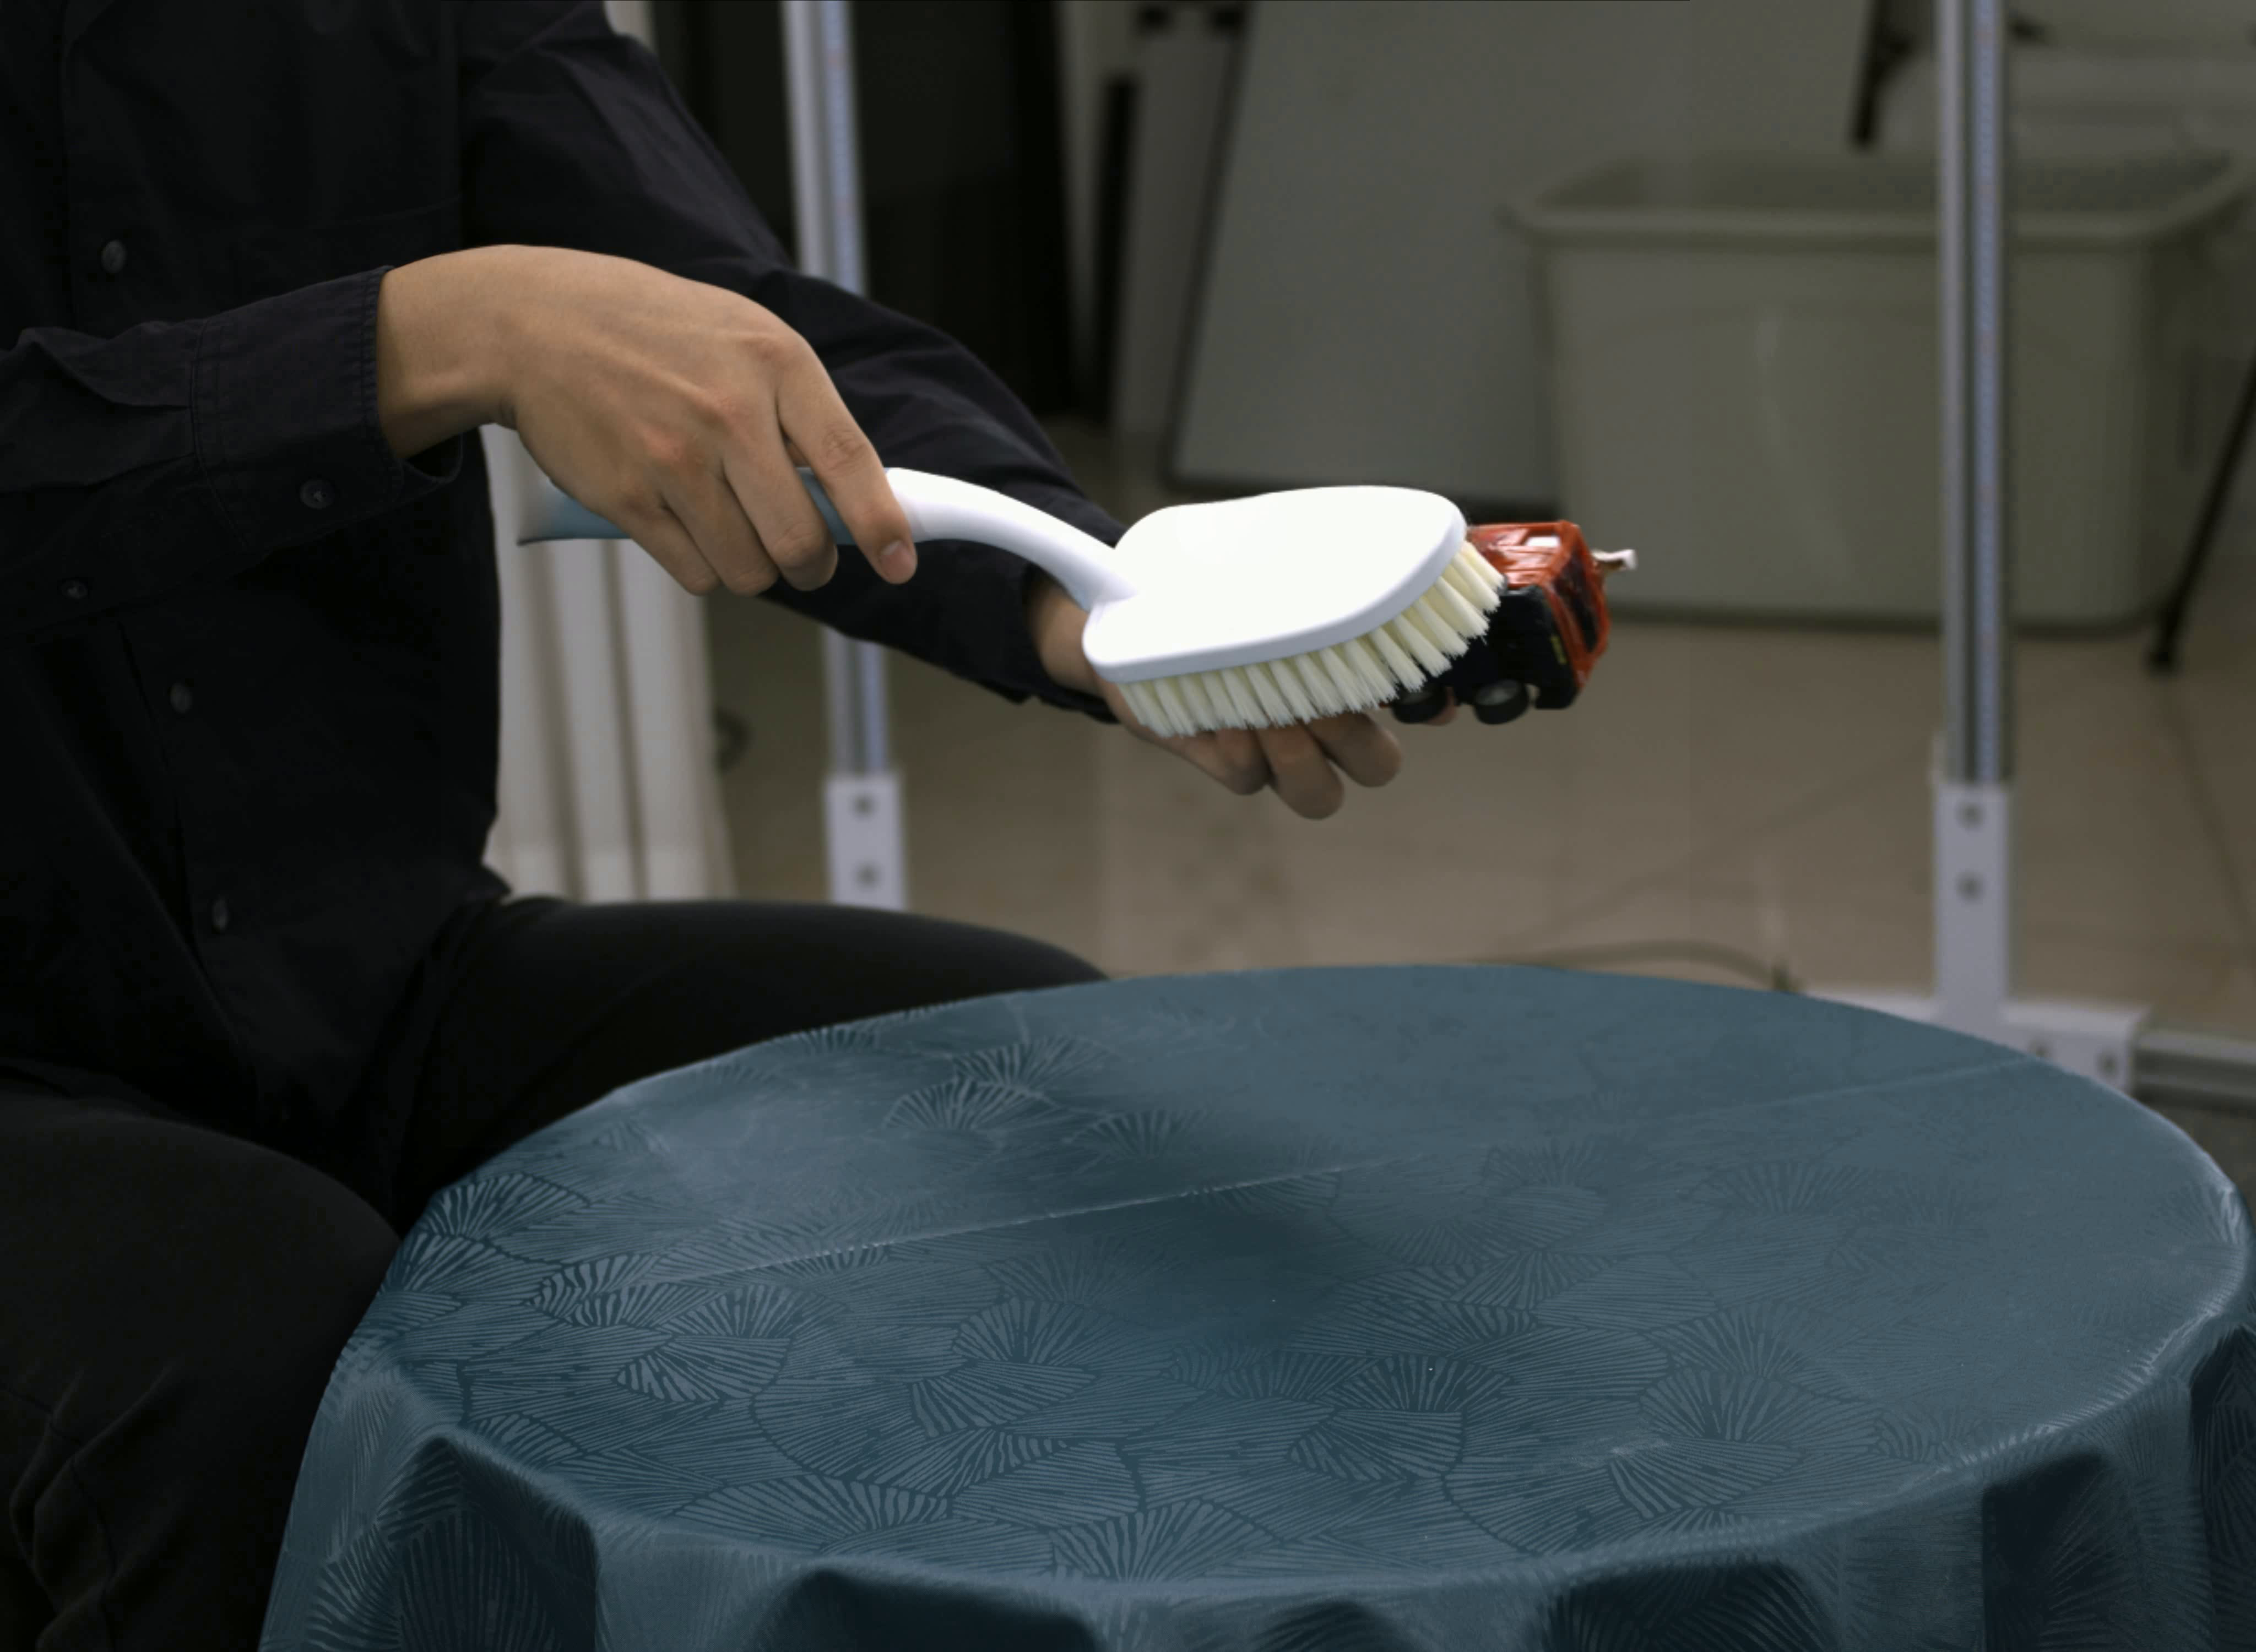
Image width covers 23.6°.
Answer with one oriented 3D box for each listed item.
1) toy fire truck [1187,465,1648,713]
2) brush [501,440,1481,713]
[{"bbox_3d":[0.078,-0.074,1.686,0.169,0.054,0.070,-1,35,34],"label":"toy fire truck"},{"bbox_3d":[-0.042,-0.081,1.684,0.325,0.085,0.082,3,15,24],"label":"brush"}]
